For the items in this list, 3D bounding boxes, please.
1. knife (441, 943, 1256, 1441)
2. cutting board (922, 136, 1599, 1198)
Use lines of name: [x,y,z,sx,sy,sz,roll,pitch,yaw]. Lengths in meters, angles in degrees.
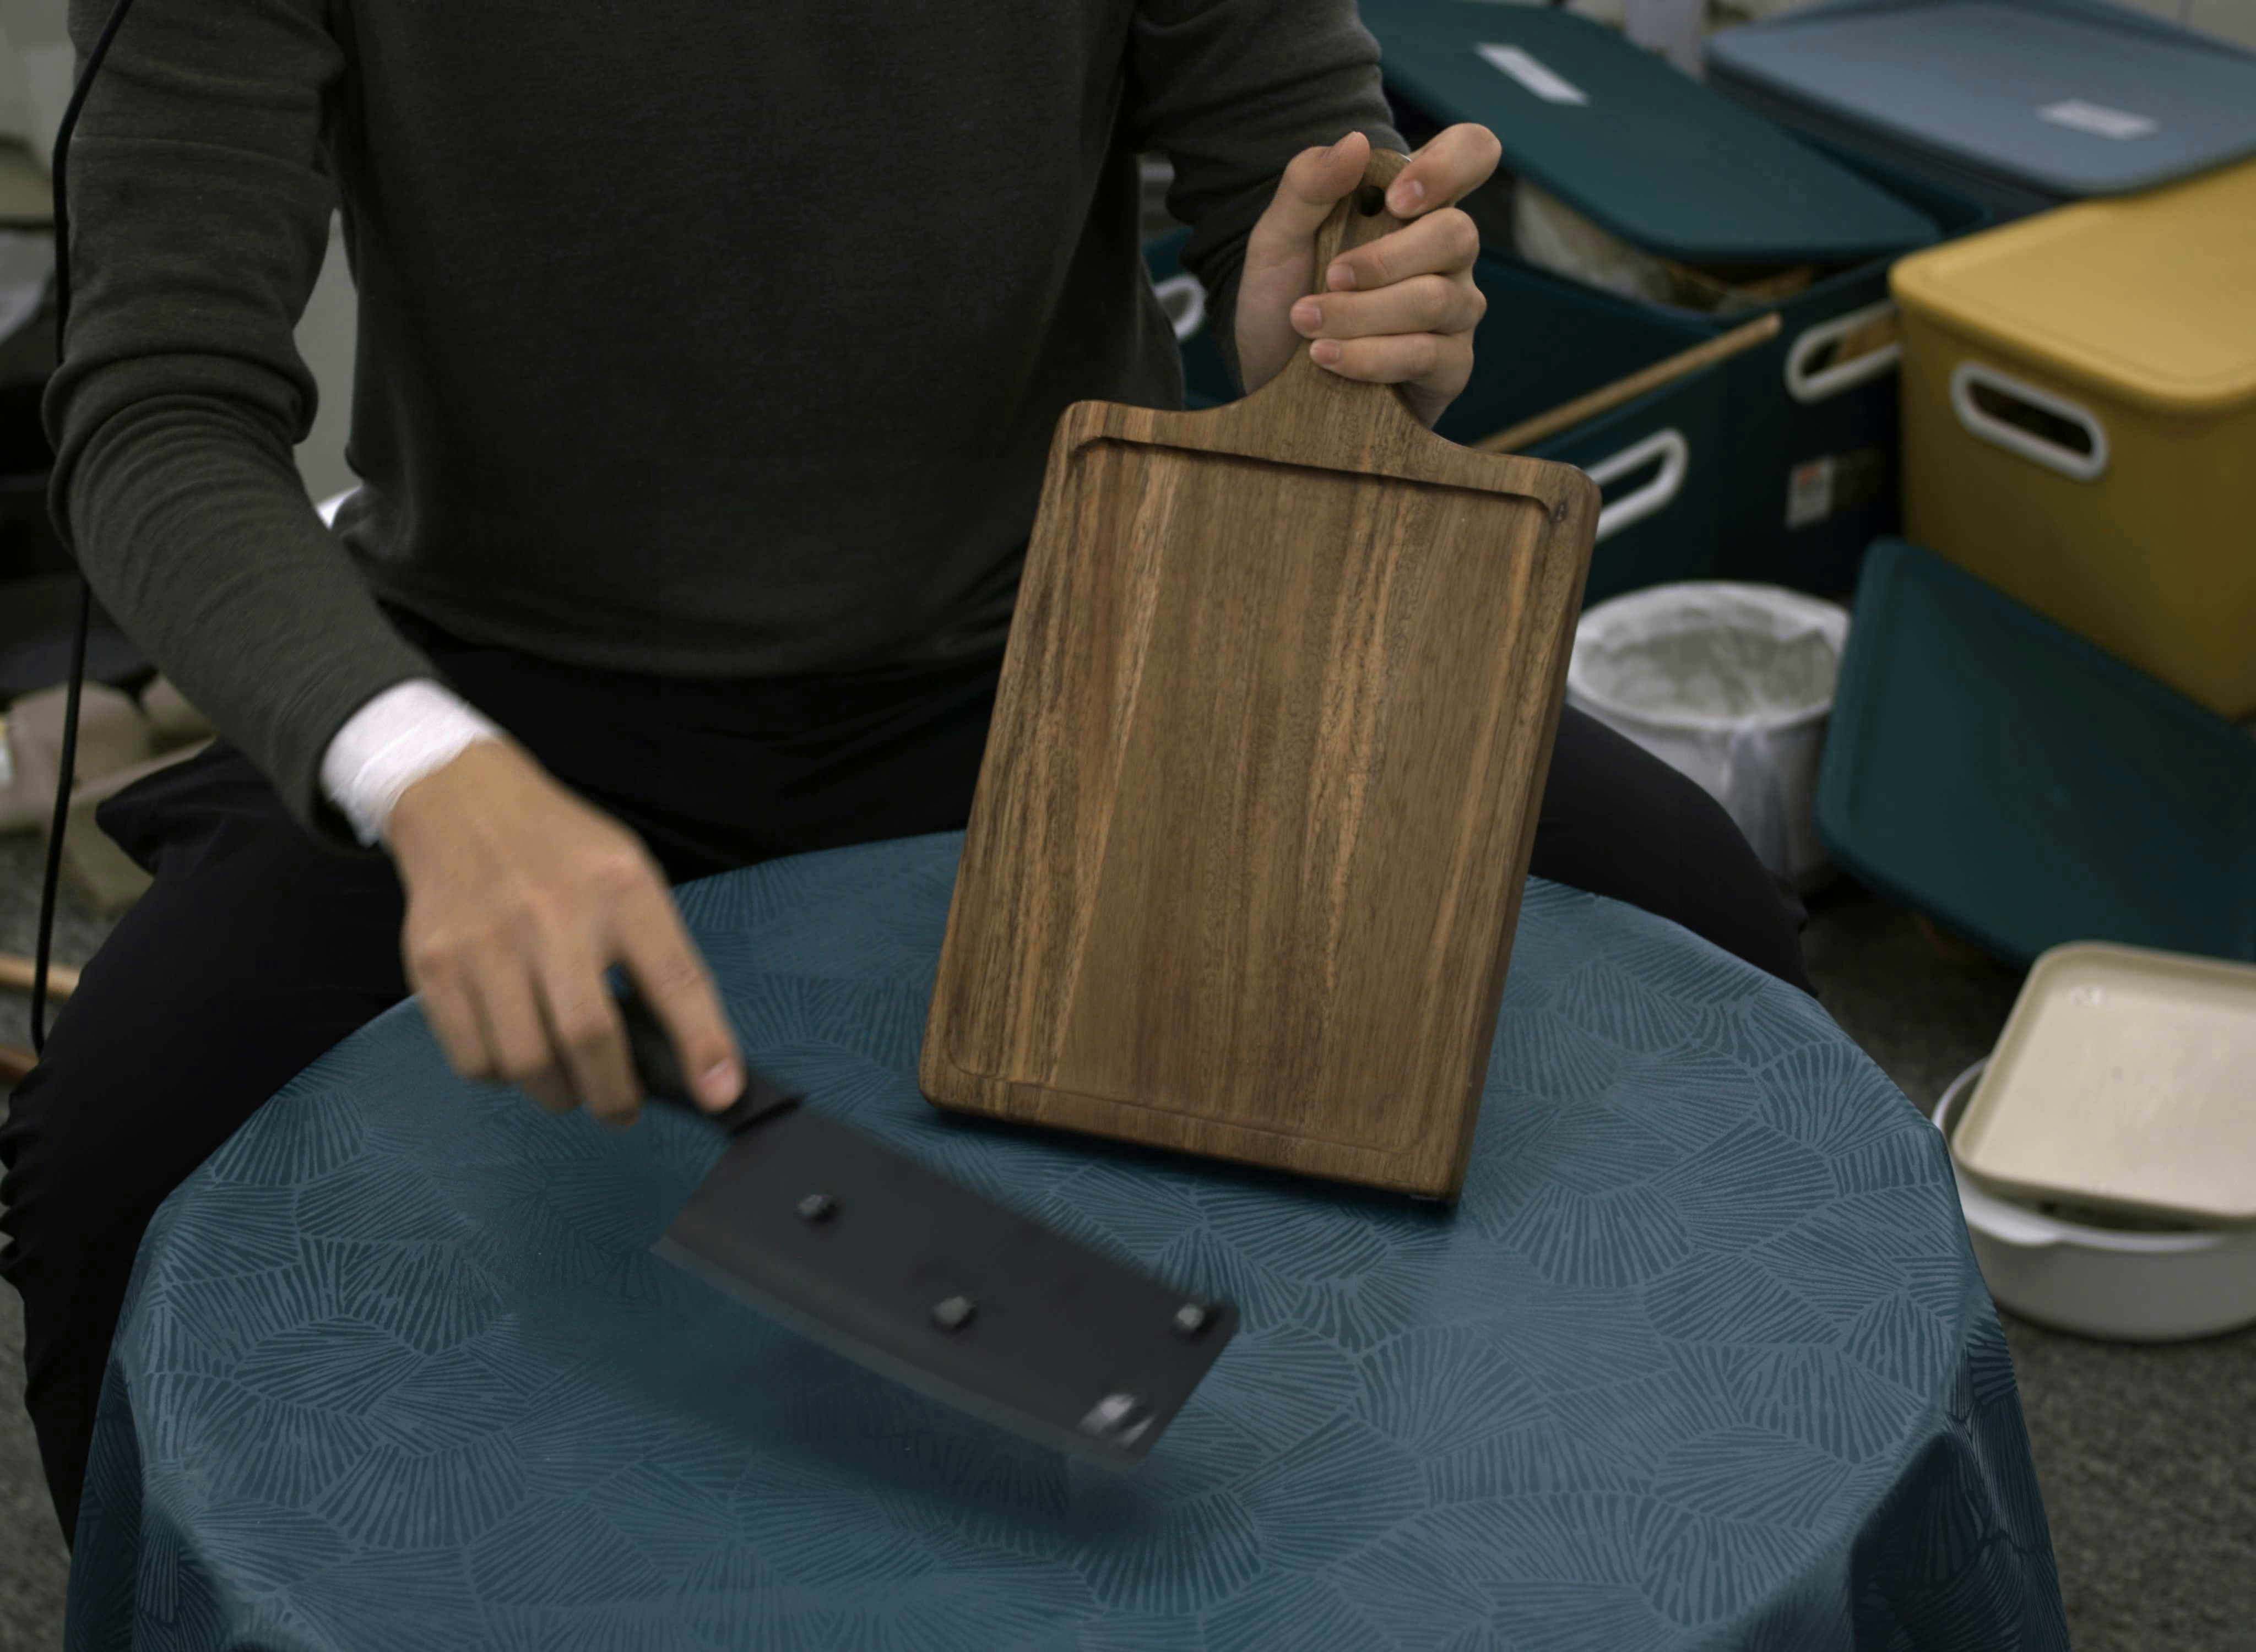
knife: [-0.097,0.109,1.744,0.302,0.020,0.082,27,62,29]
cutting board: [0.053,-0.061,1.899,0.200,0.355,0.023,8,-10,21]
